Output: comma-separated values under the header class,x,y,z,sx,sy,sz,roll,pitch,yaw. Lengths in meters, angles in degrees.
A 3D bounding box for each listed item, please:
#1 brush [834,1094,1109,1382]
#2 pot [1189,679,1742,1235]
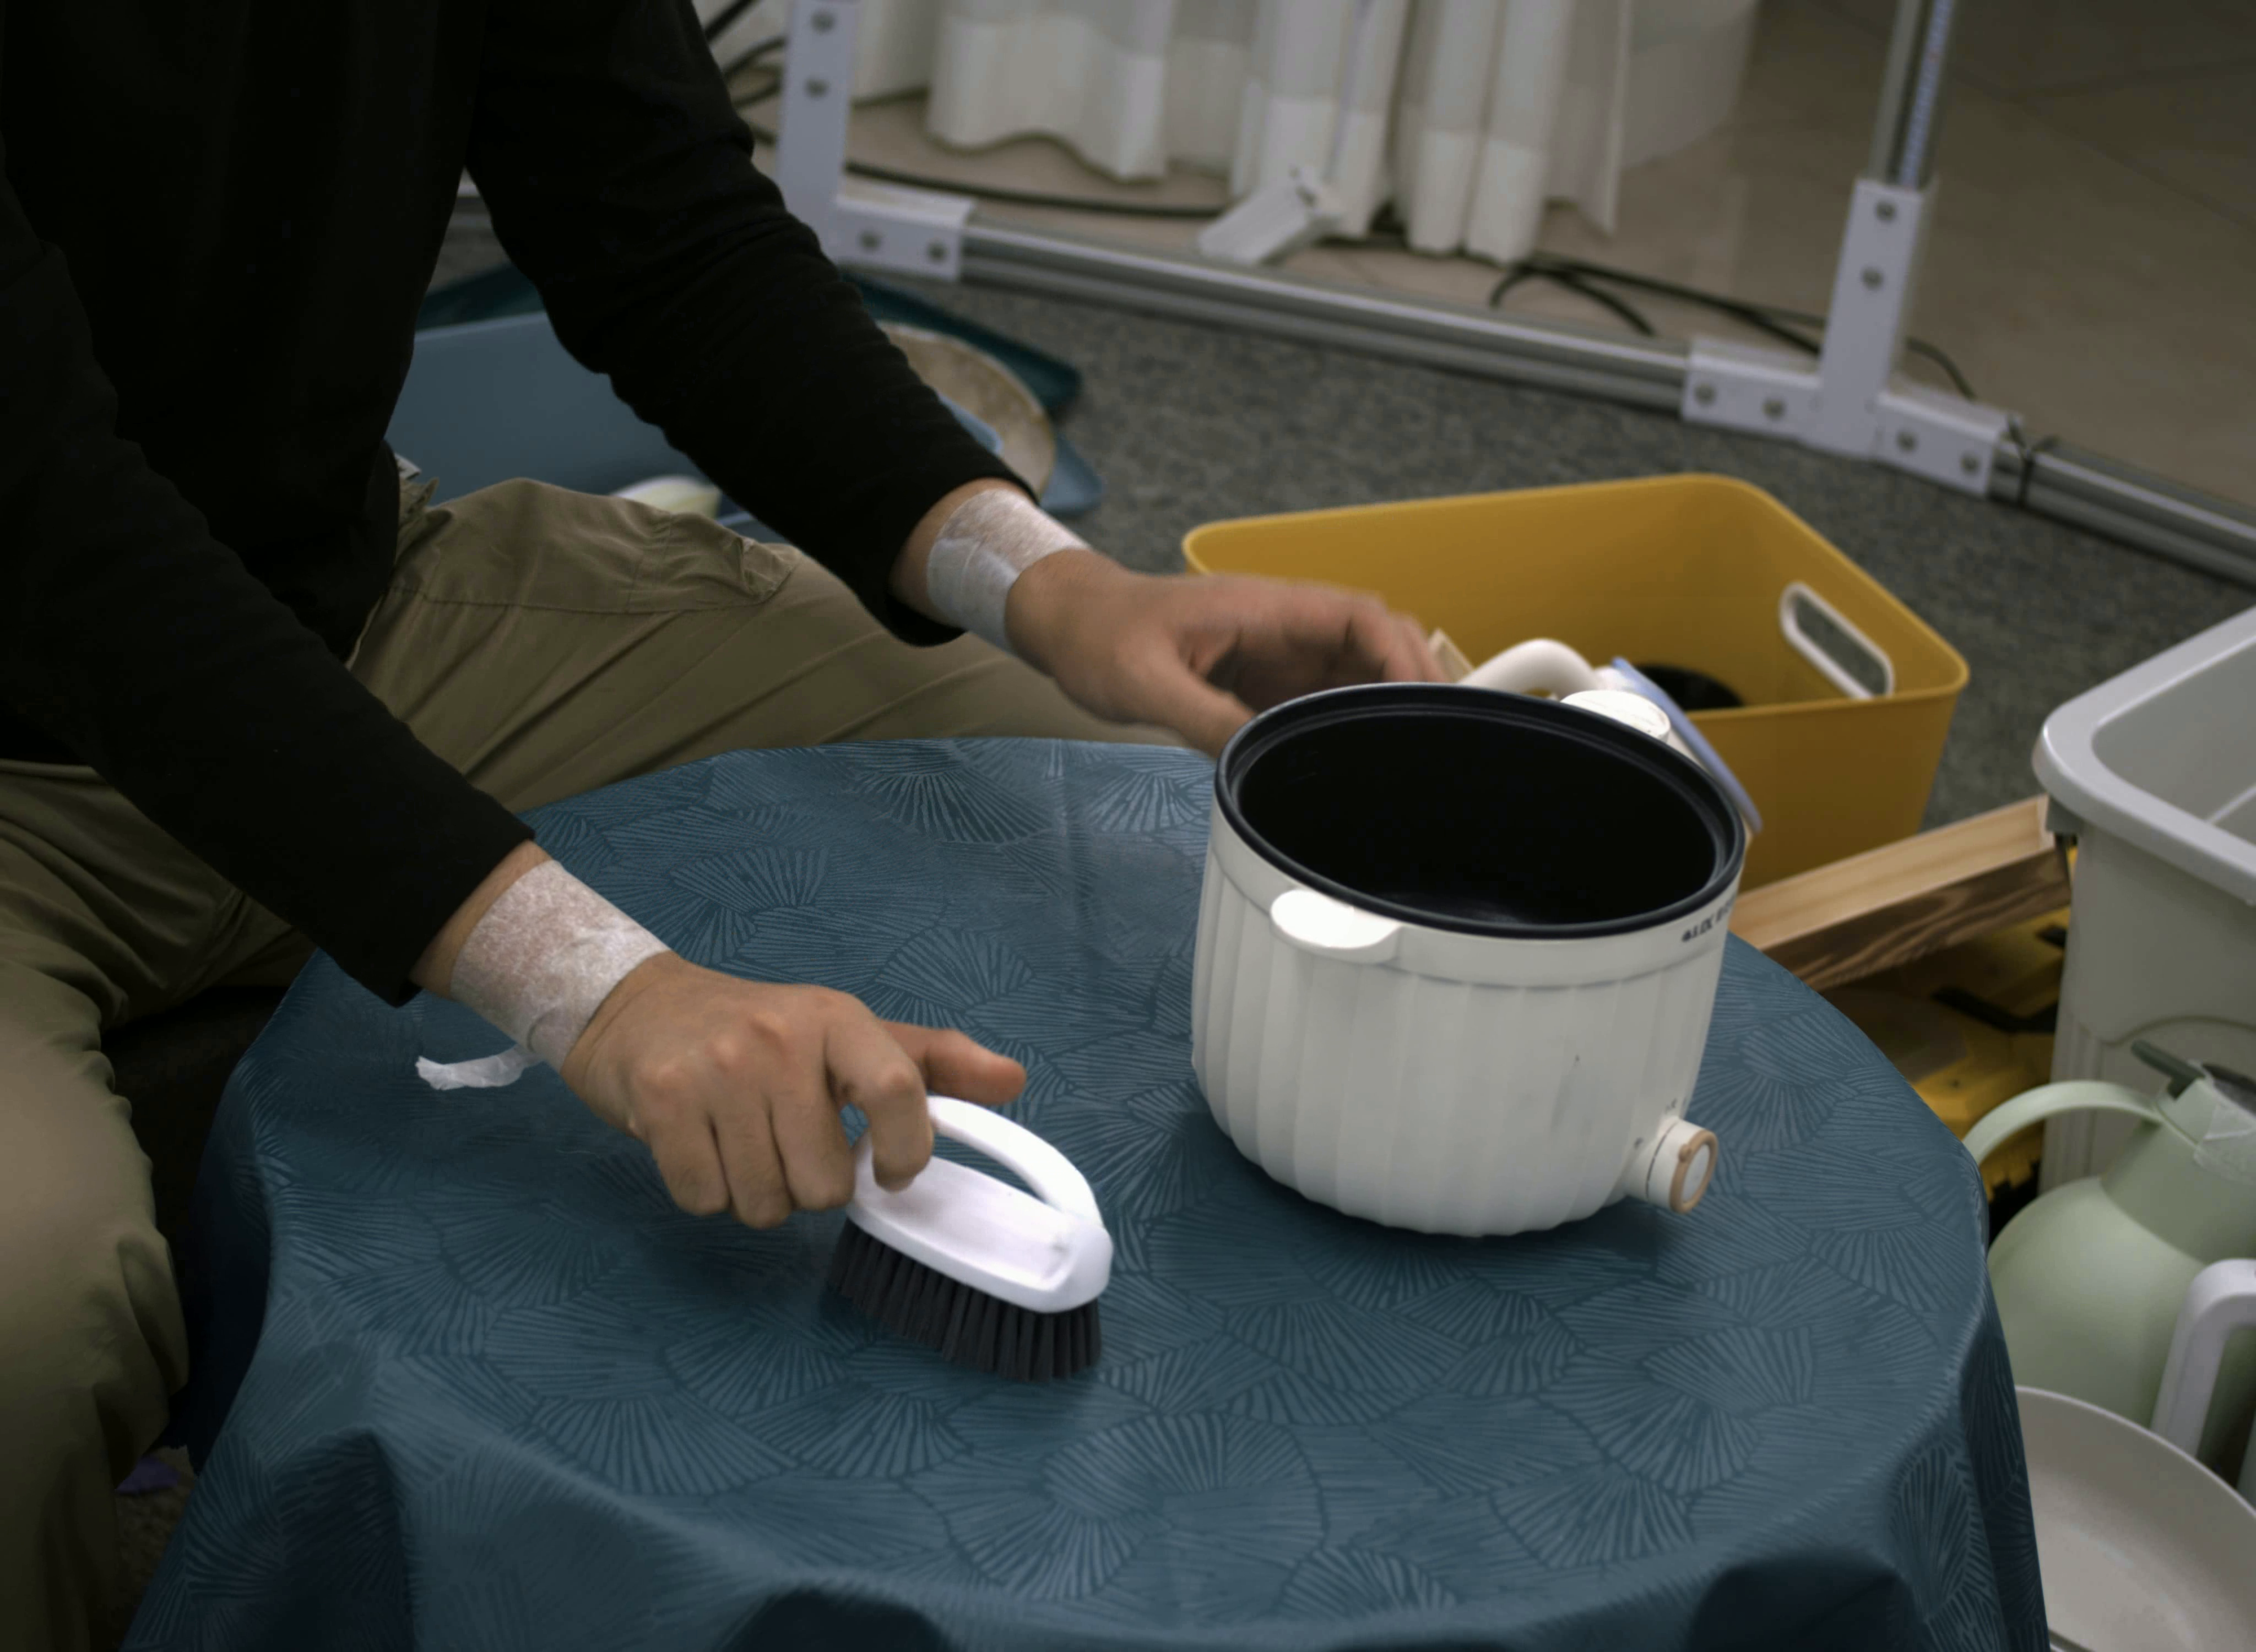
class,x,y,z,sx,sy,sz,roll,pitch,yaw
brush,-0.049,0.125,1.707,0.100,0.072,0.050,25,33,32
pot,0.116,0.051,1.819,0.191,0.142,0.240,18,30,26
